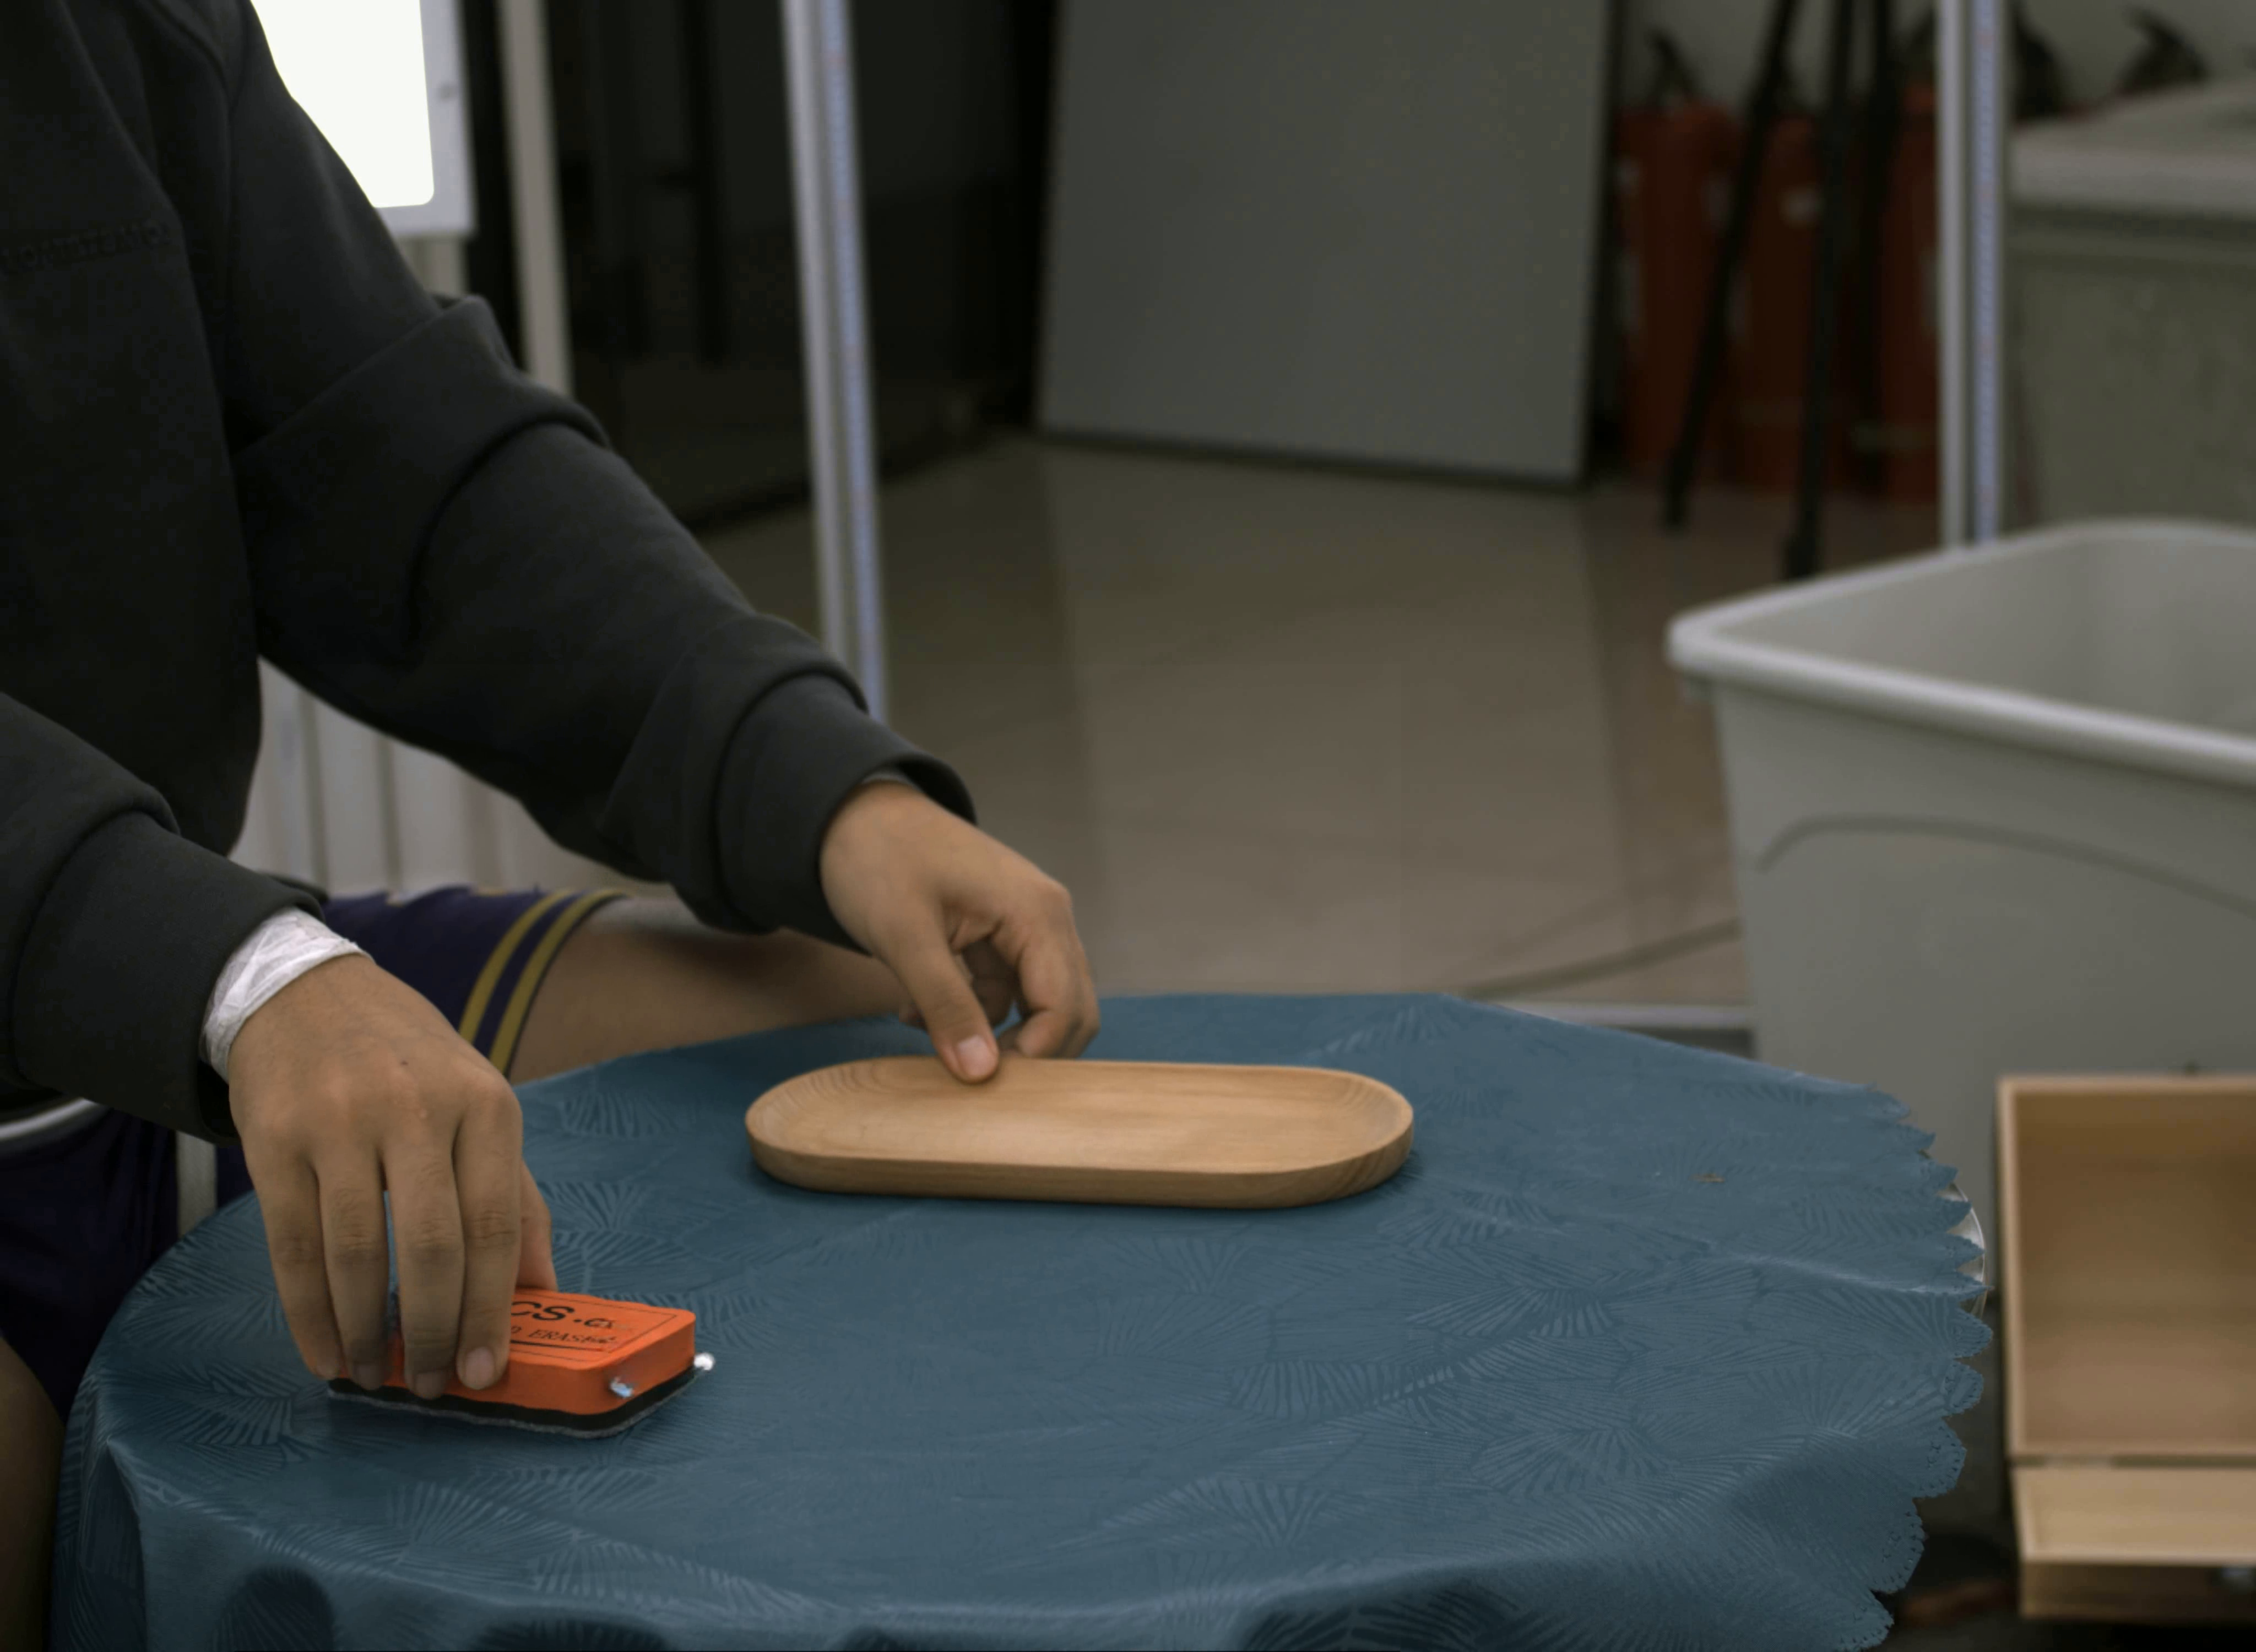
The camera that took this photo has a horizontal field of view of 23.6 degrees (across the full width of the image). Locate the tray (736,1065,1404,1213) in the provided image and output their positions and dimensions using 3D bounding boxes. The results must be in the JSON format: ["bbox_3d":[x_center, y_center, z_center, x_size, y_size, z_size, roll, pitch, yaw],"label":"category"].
[{"bbox_3d":[-0.020,0.105,1.803,0.230,0.020,0.101,-1,16,17],"label":"tray"}]

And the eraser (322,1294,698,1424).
[{"bbox_3d":[-0.185,0.159,1.617,0.108,0.023,0.058,4,-10,33],"label":"eraser"}]
